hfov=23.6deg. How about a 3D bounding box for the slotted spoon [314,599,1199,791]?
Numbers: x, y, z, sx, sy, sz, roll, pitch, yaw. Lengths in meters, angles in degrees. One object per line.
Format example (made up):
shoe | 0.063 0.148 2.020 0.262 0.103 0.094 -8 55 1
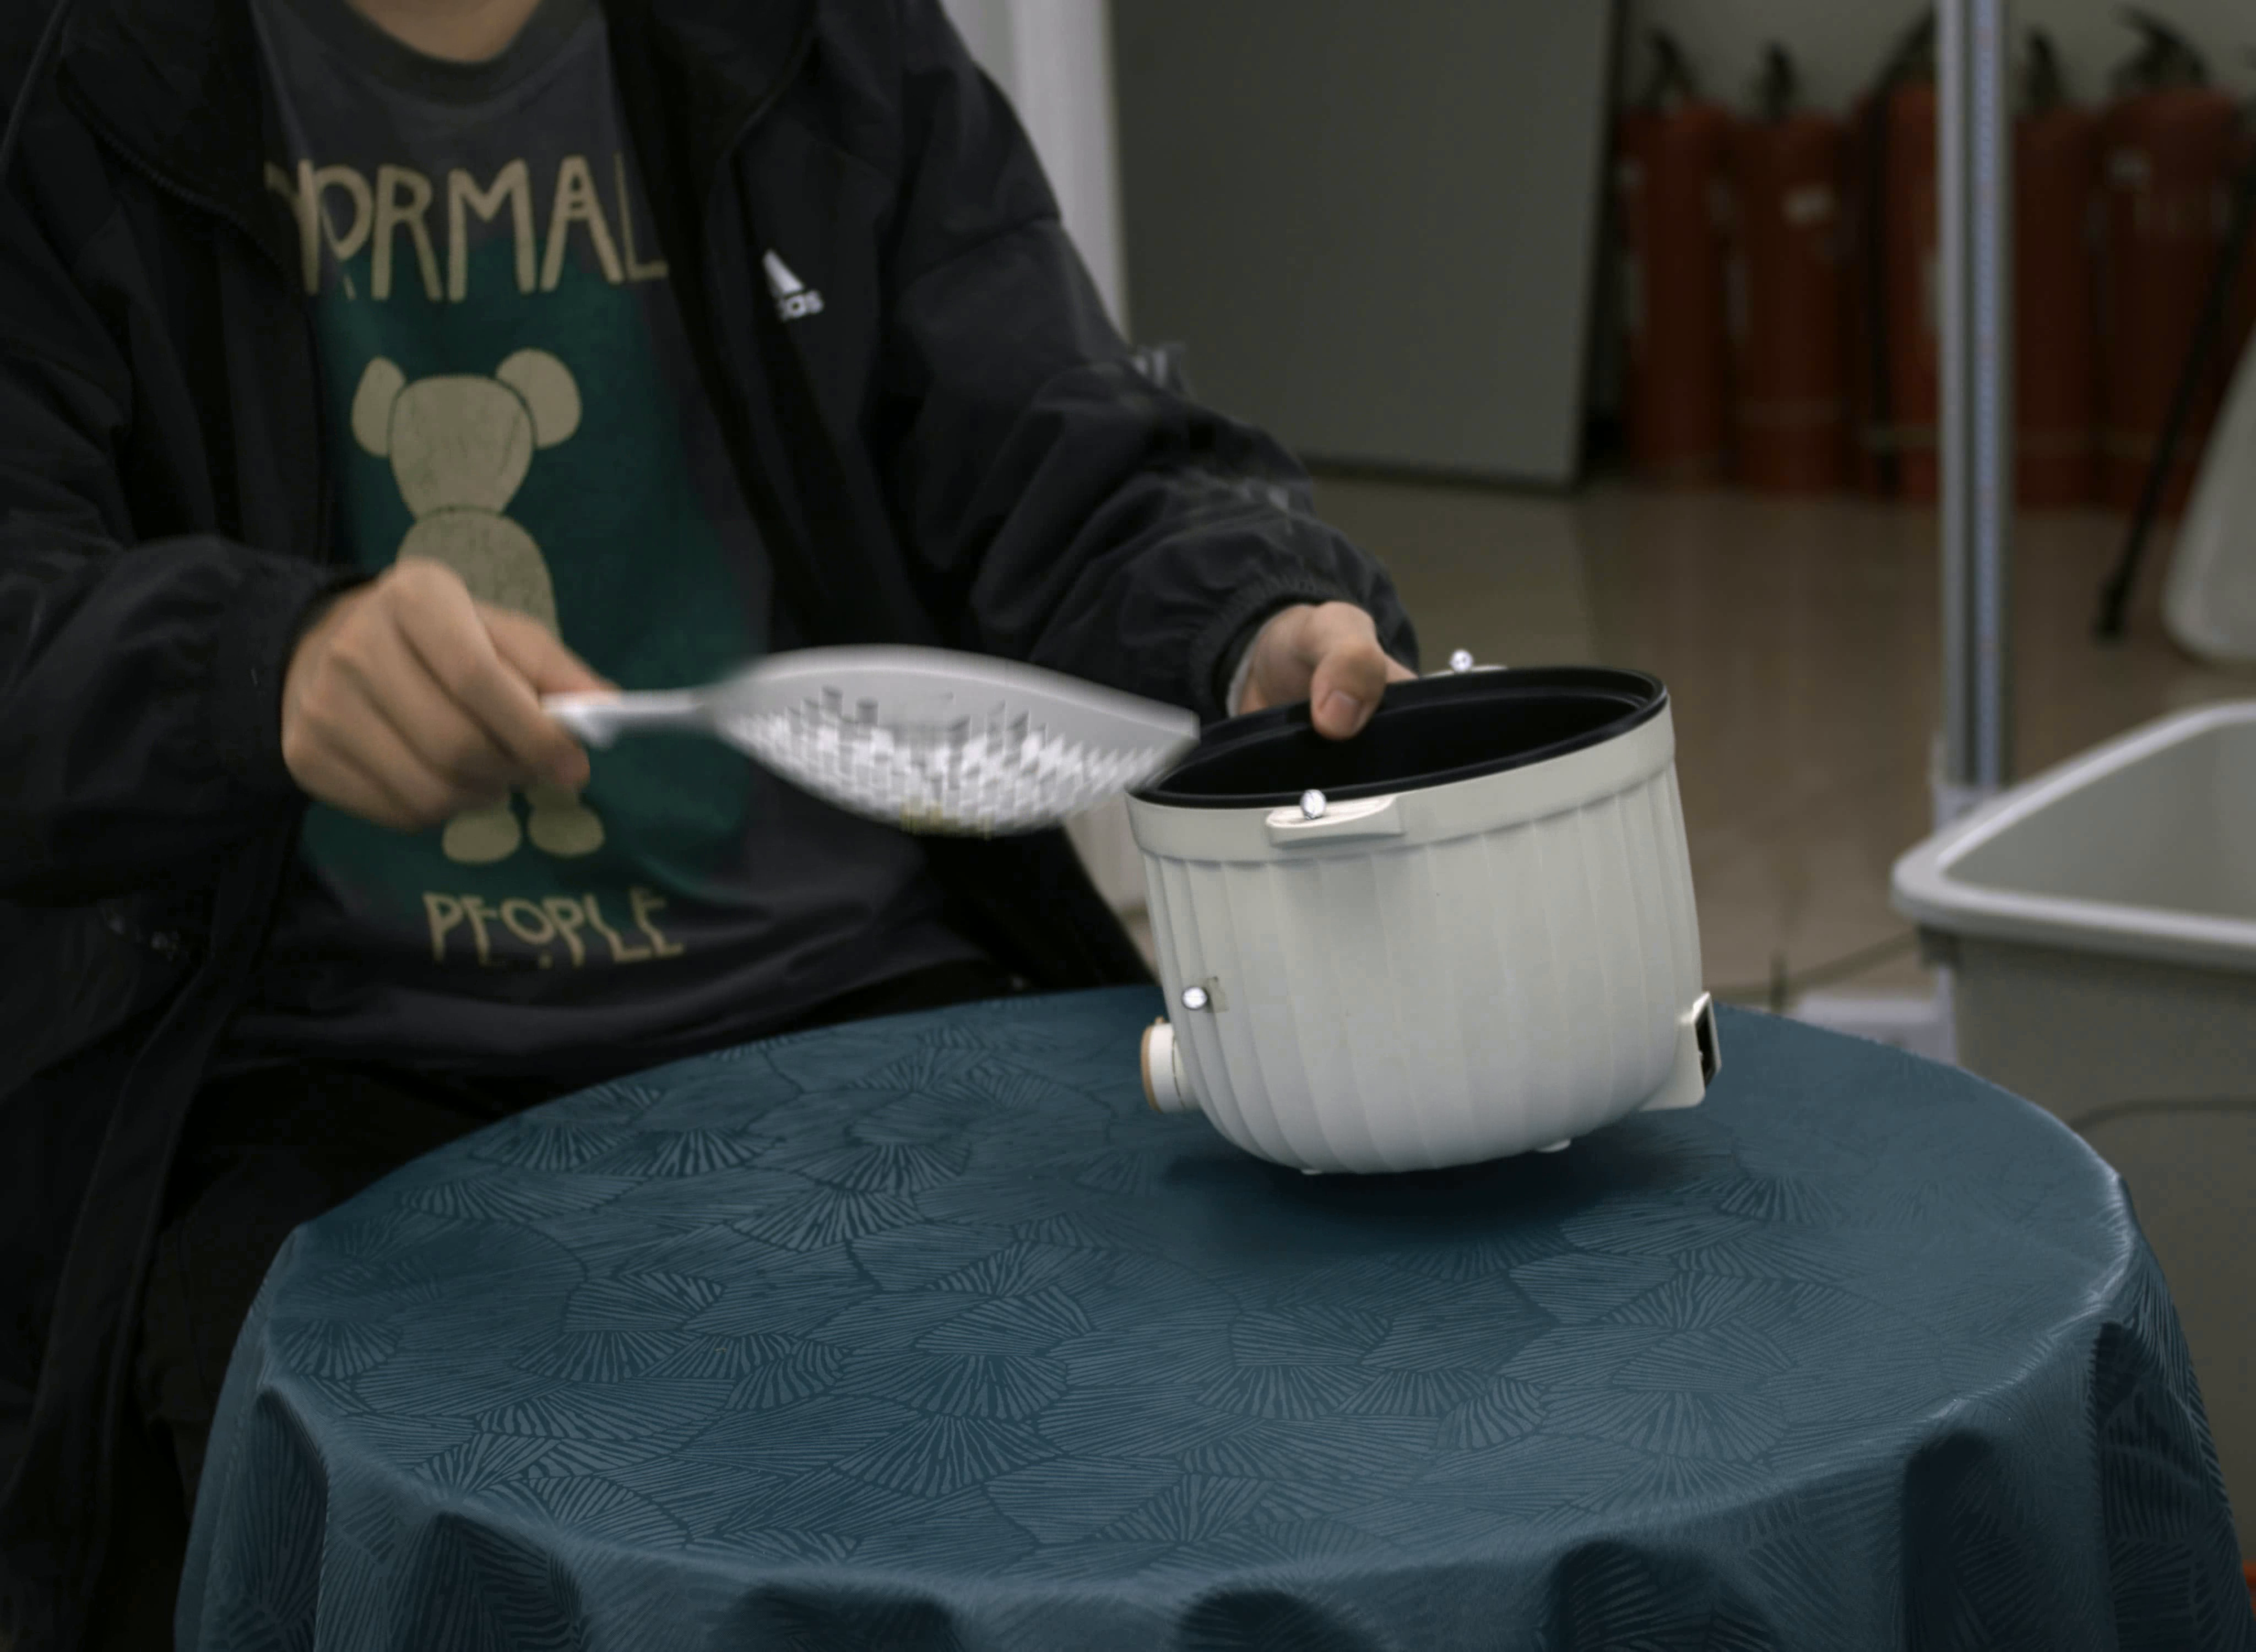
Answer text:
slotted spoon | -0.130 -0.034 1.690 0.351 0.051 0.134 2 -8 43

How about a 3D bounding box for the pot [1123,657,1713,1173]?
pot | 0.091 0.032 1.766 0.190 0.144 0.238 -4 10 16
